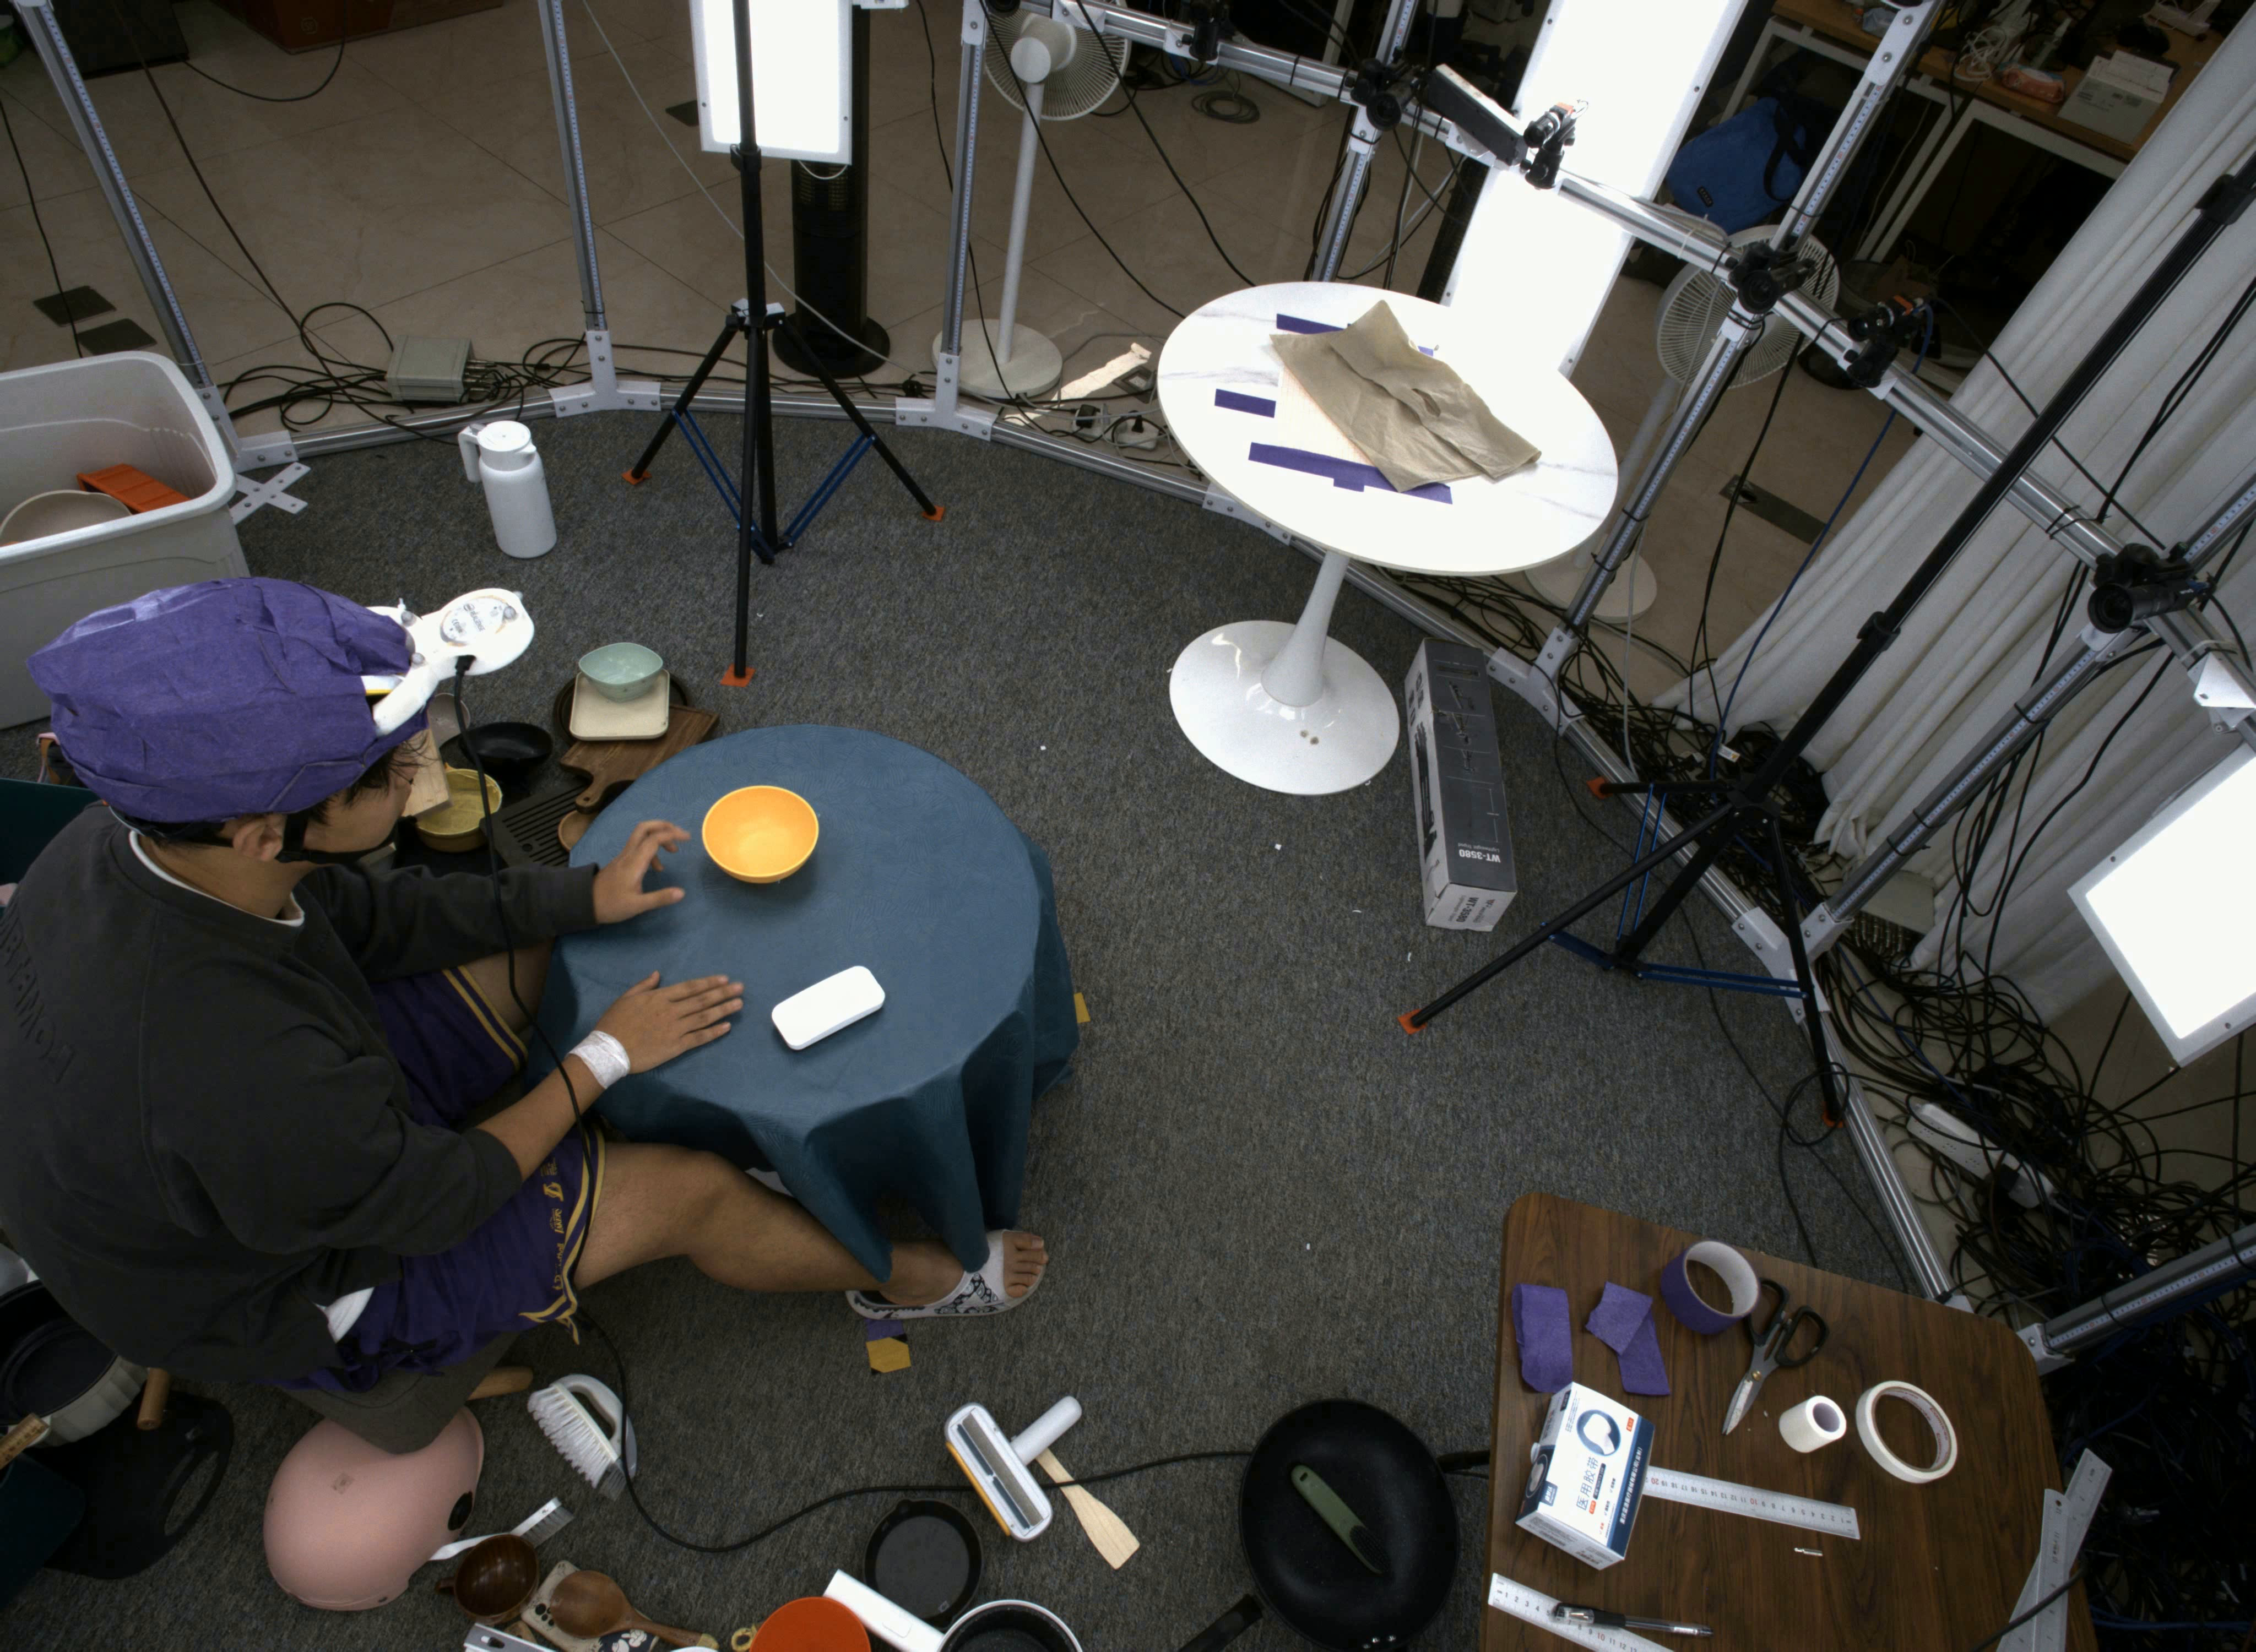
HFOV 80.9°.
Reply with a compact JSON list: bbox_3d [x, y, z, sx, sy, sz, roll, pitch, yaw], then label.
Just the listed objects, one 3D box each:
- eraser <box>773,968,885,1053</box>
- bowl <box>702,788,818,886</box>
[{"bbox_3d":[-0.361,0.217,1.563,0.132,0.035,0.062,-26,63,-30],"label":"eraser"},{"bbox_3d":[-0.470,0.024,1.664,0.145,0.061,0.143,6,52,-7],"label":"bowl"}]
